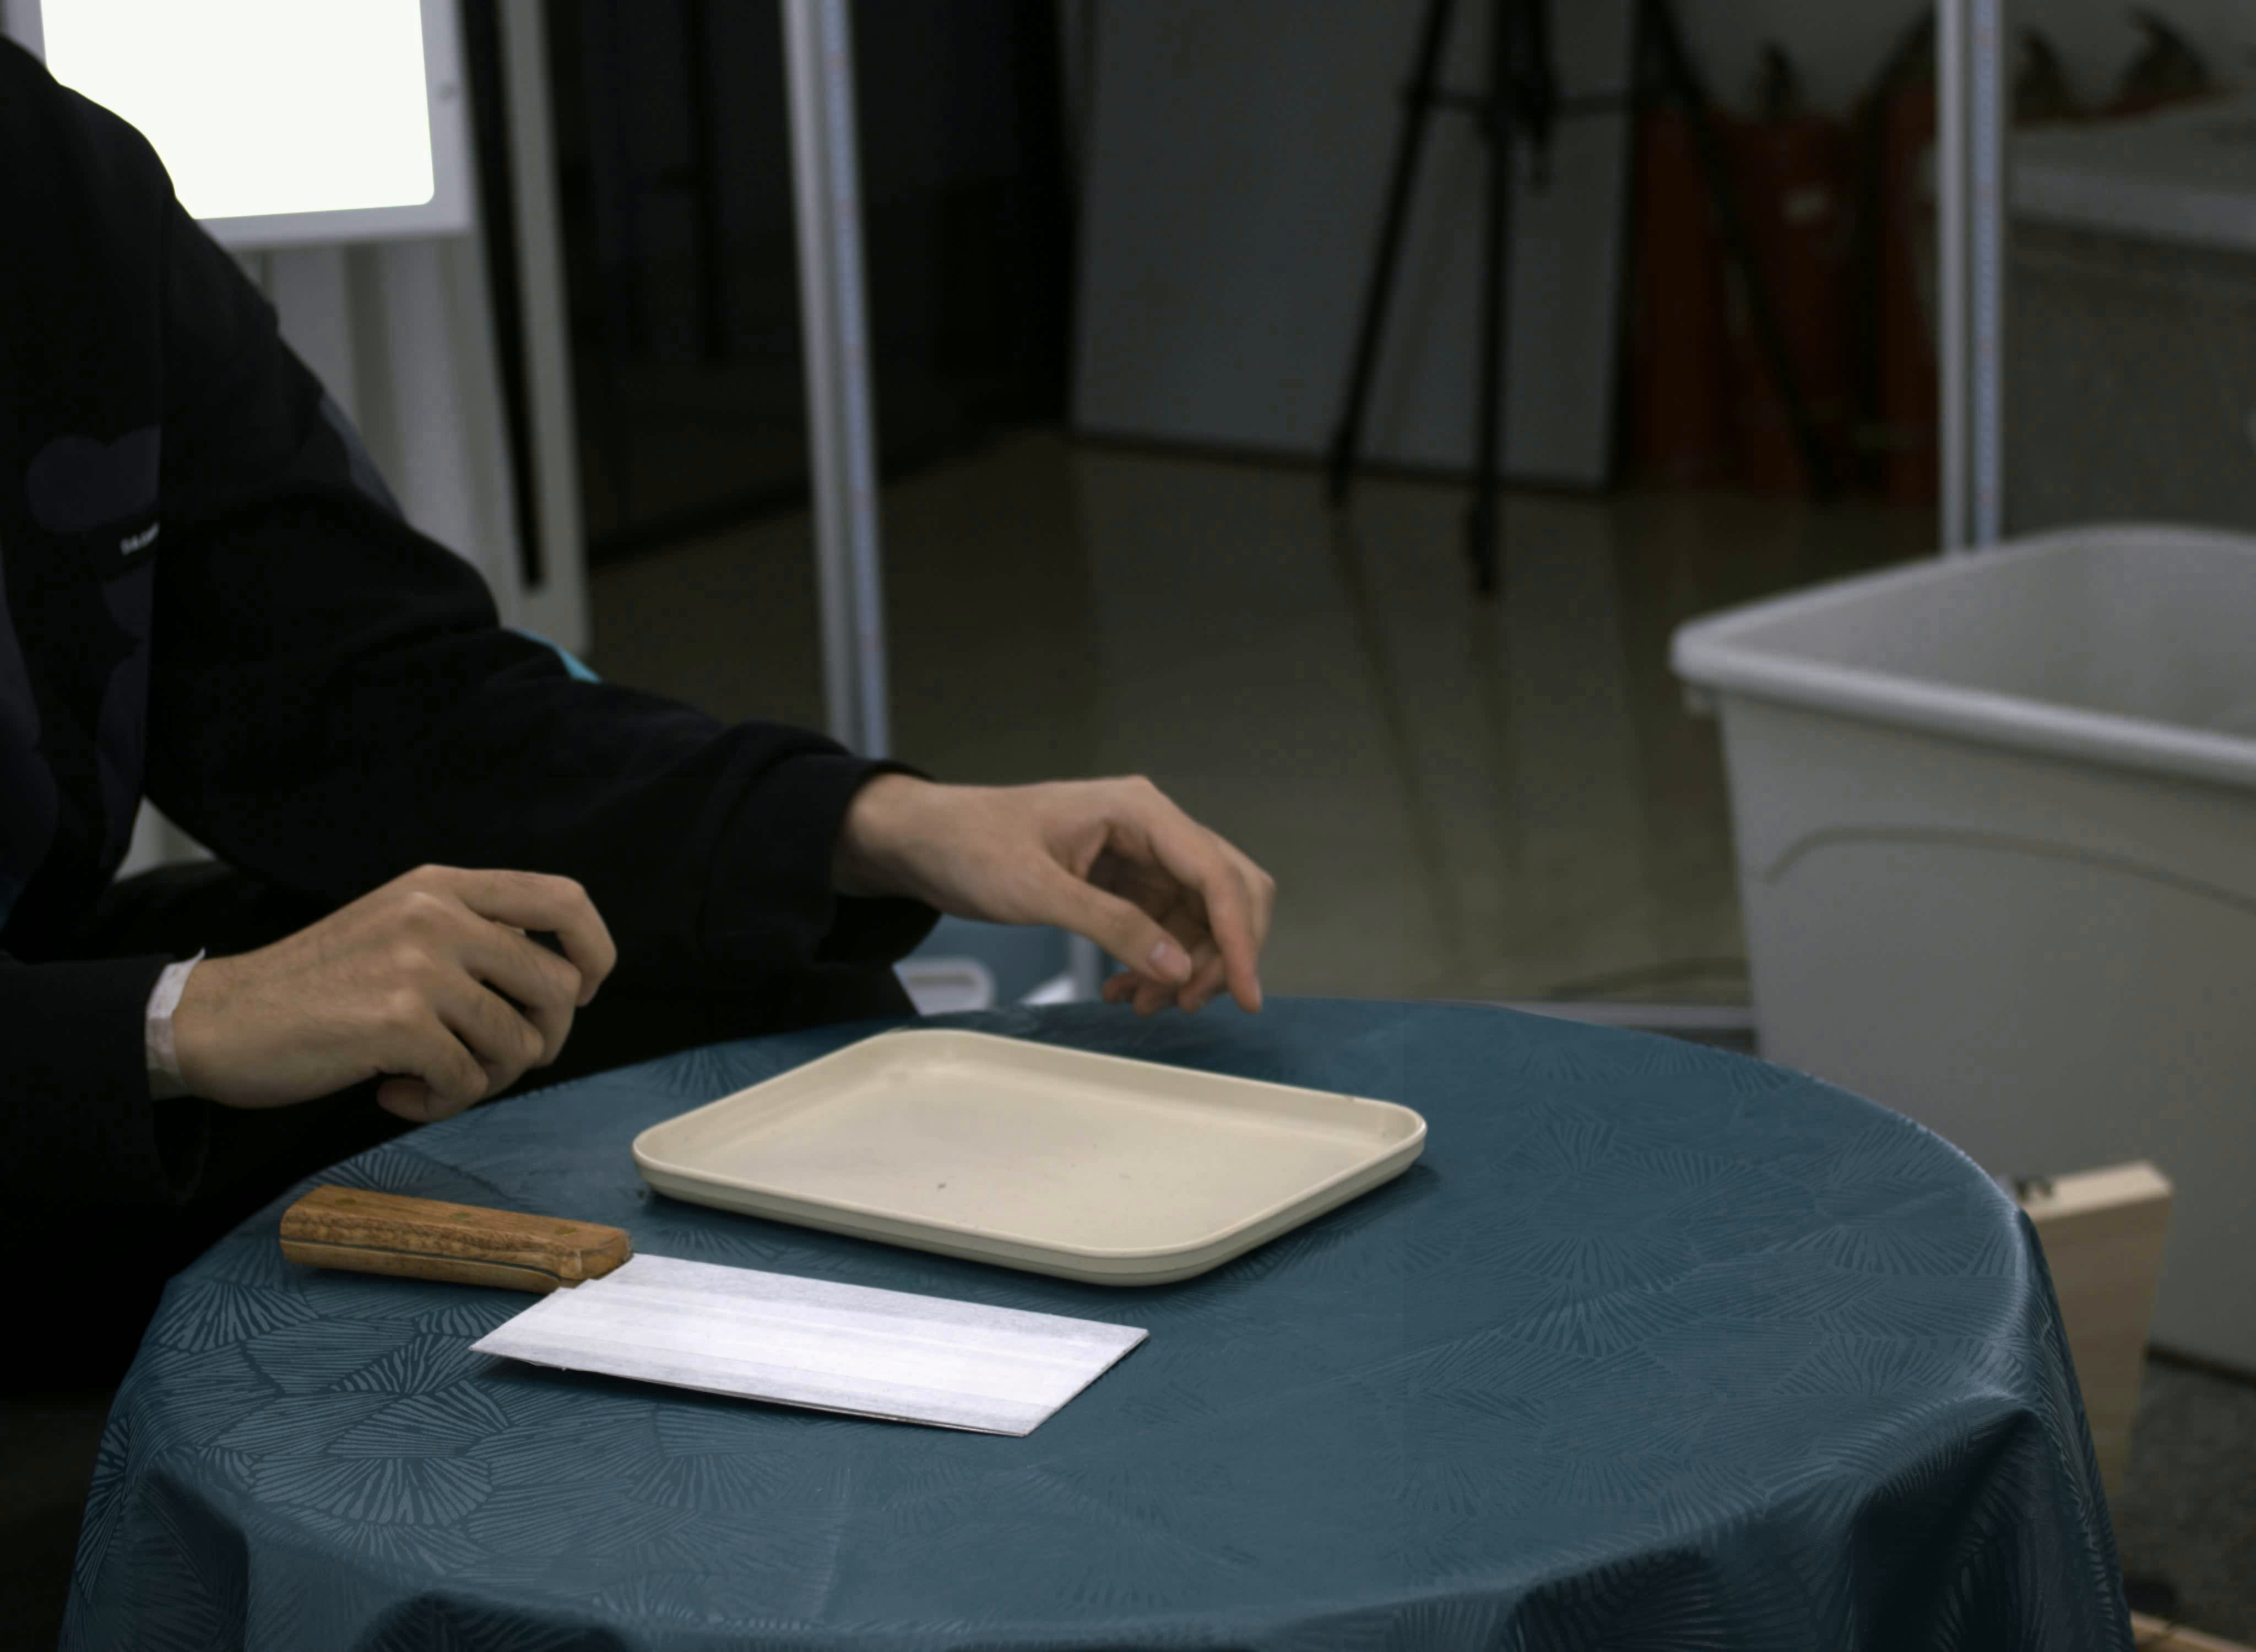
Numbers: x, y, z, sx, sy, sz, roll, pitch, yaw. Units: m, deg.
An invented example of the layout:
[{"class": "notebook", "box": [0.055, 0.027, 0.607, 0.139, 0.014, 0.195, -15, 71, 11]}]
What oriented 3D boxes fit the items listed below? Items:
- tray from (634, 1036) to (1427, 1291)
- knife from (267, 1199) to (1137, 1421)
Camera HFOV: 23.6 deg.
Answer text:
[{"class": "tray", "box": [-0.032, 0.111, 1.784, 0.241, 0.017, 0.168, 7, 18, 38]}, {"class": "knife", "box": [-0.146, 0.151, 1.660, 0.306, 0.021, 0.092, 5, 18, 26]}]
